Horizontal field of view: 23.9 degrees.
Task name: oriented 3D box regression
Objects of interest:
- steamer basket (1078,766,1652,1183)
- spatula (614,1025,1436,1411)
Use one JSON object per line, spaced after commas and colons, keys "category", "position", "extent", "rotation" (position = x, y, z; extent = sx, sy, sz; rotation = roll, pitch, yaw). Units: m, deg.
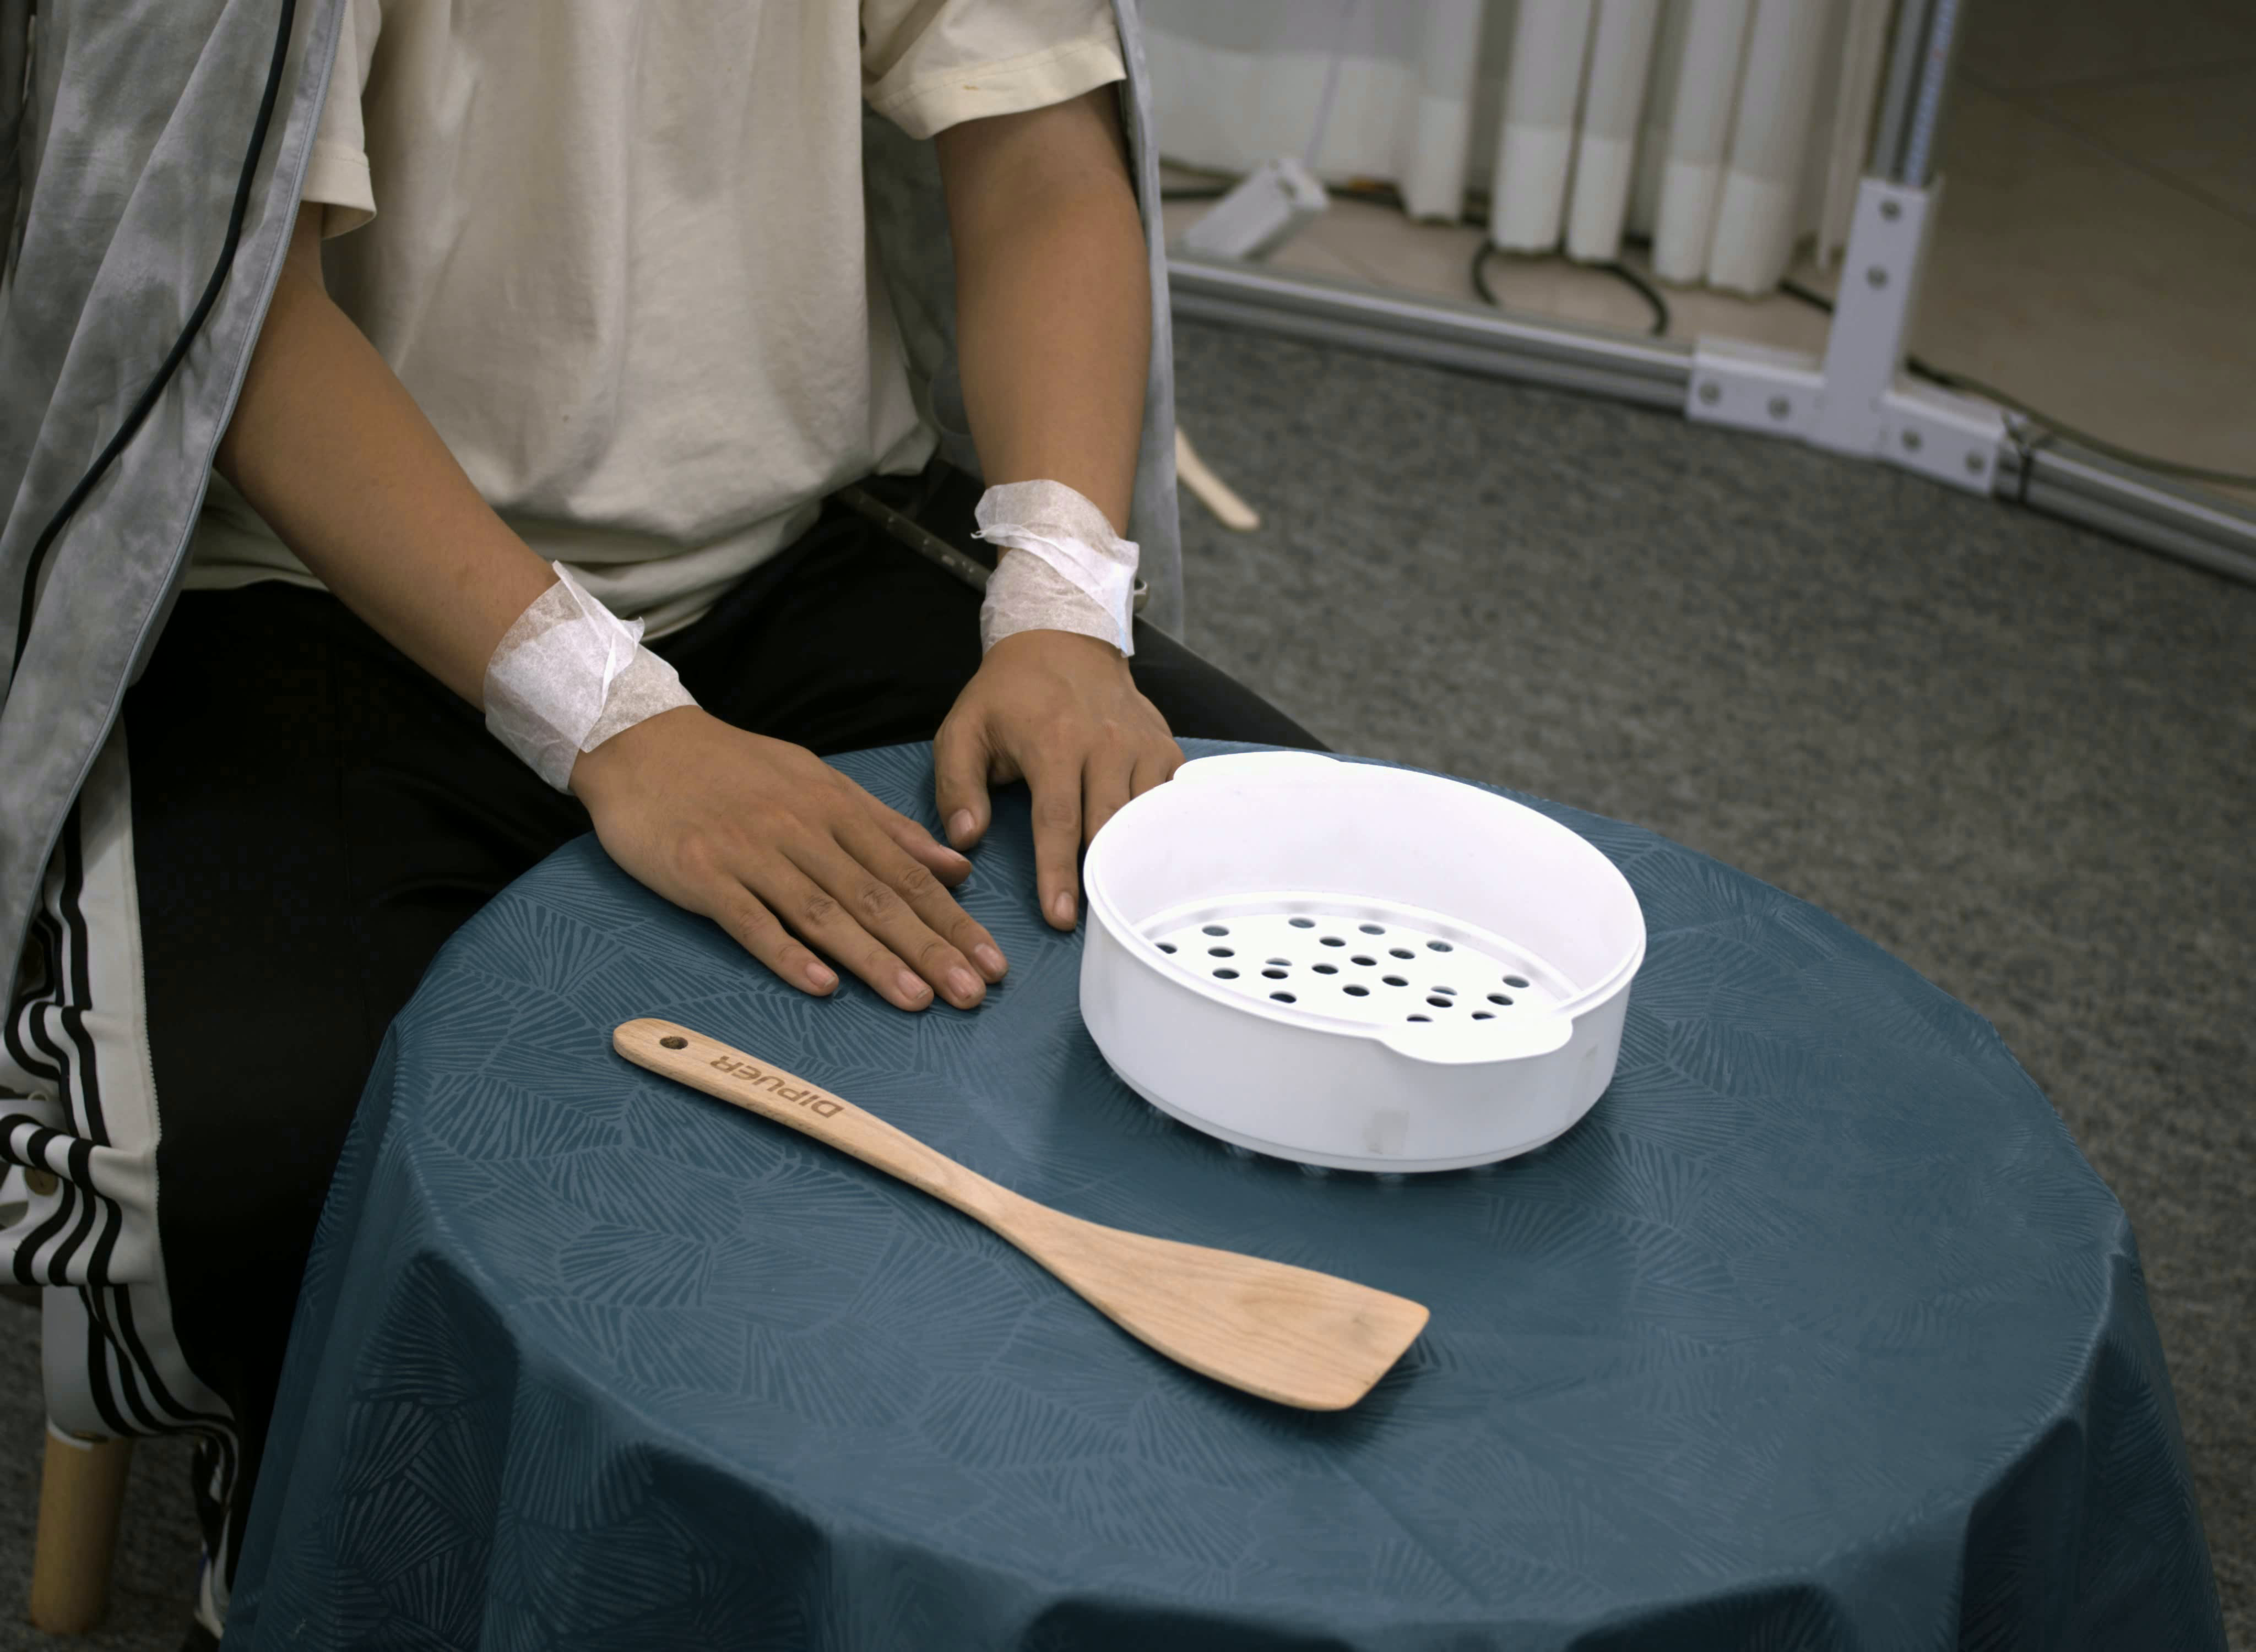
{"category": "steamer basket", "position": [0.082, 0.054, 1.888], "extent": [0.200, 0.069, 0.232], "rotation": [-3, 28, -21]}
{"category": "spatula", "position": [-0.042, 0.124, 1.776], "extent": [0.329, 0.016, 0.079], "rotation": [22, 30, 29]}
